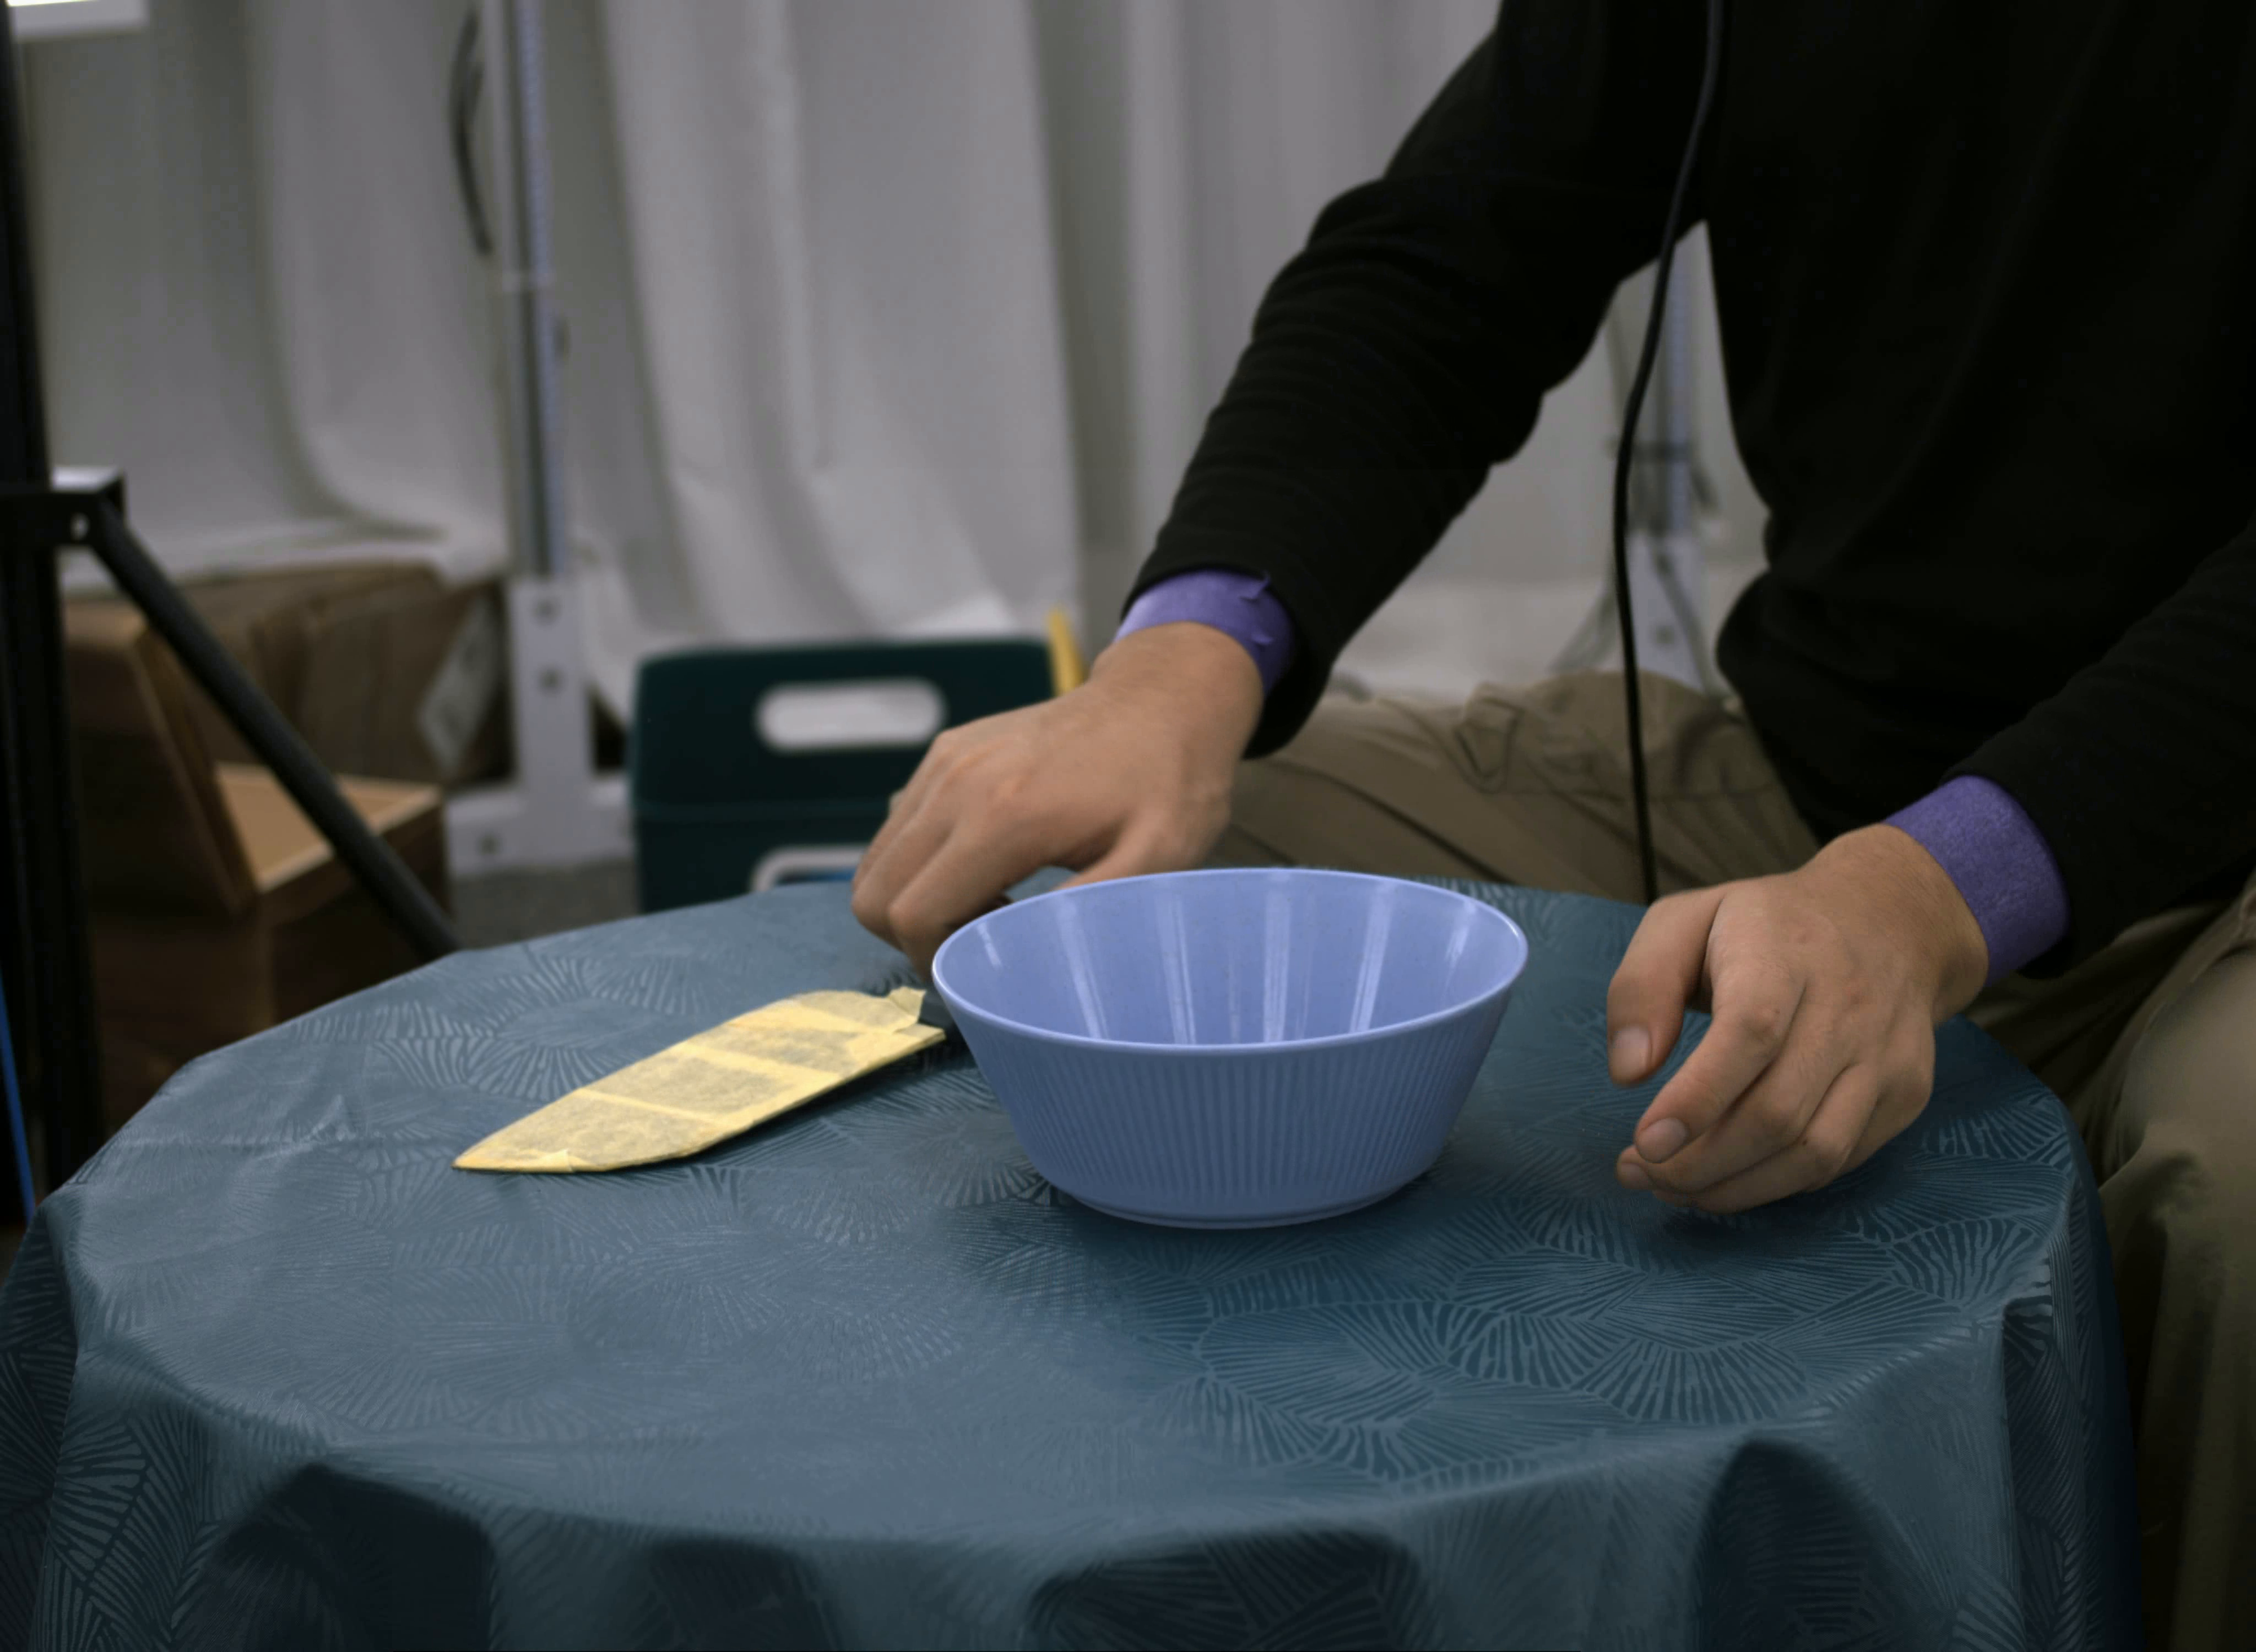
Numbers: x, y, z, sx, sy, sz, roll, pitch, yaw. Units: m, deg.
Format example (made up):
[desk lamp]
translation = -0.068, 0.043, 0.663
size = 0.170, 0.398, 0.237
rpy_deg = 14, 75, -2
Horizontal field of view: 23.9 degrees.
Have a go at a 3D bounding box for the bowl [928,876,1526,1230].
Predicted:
[bowl]
translation = 0.030, 0.069, 1.562
size = 0.175, 0.070, 0.177
rpy_deg = -3, 15, 0

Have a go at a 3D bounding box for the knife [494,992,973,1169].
[knife]
translation = -0.089, 0.067, 1.692
size = 0.083, 0.027, 0.283
rpy_deg = 13, 23, 42
